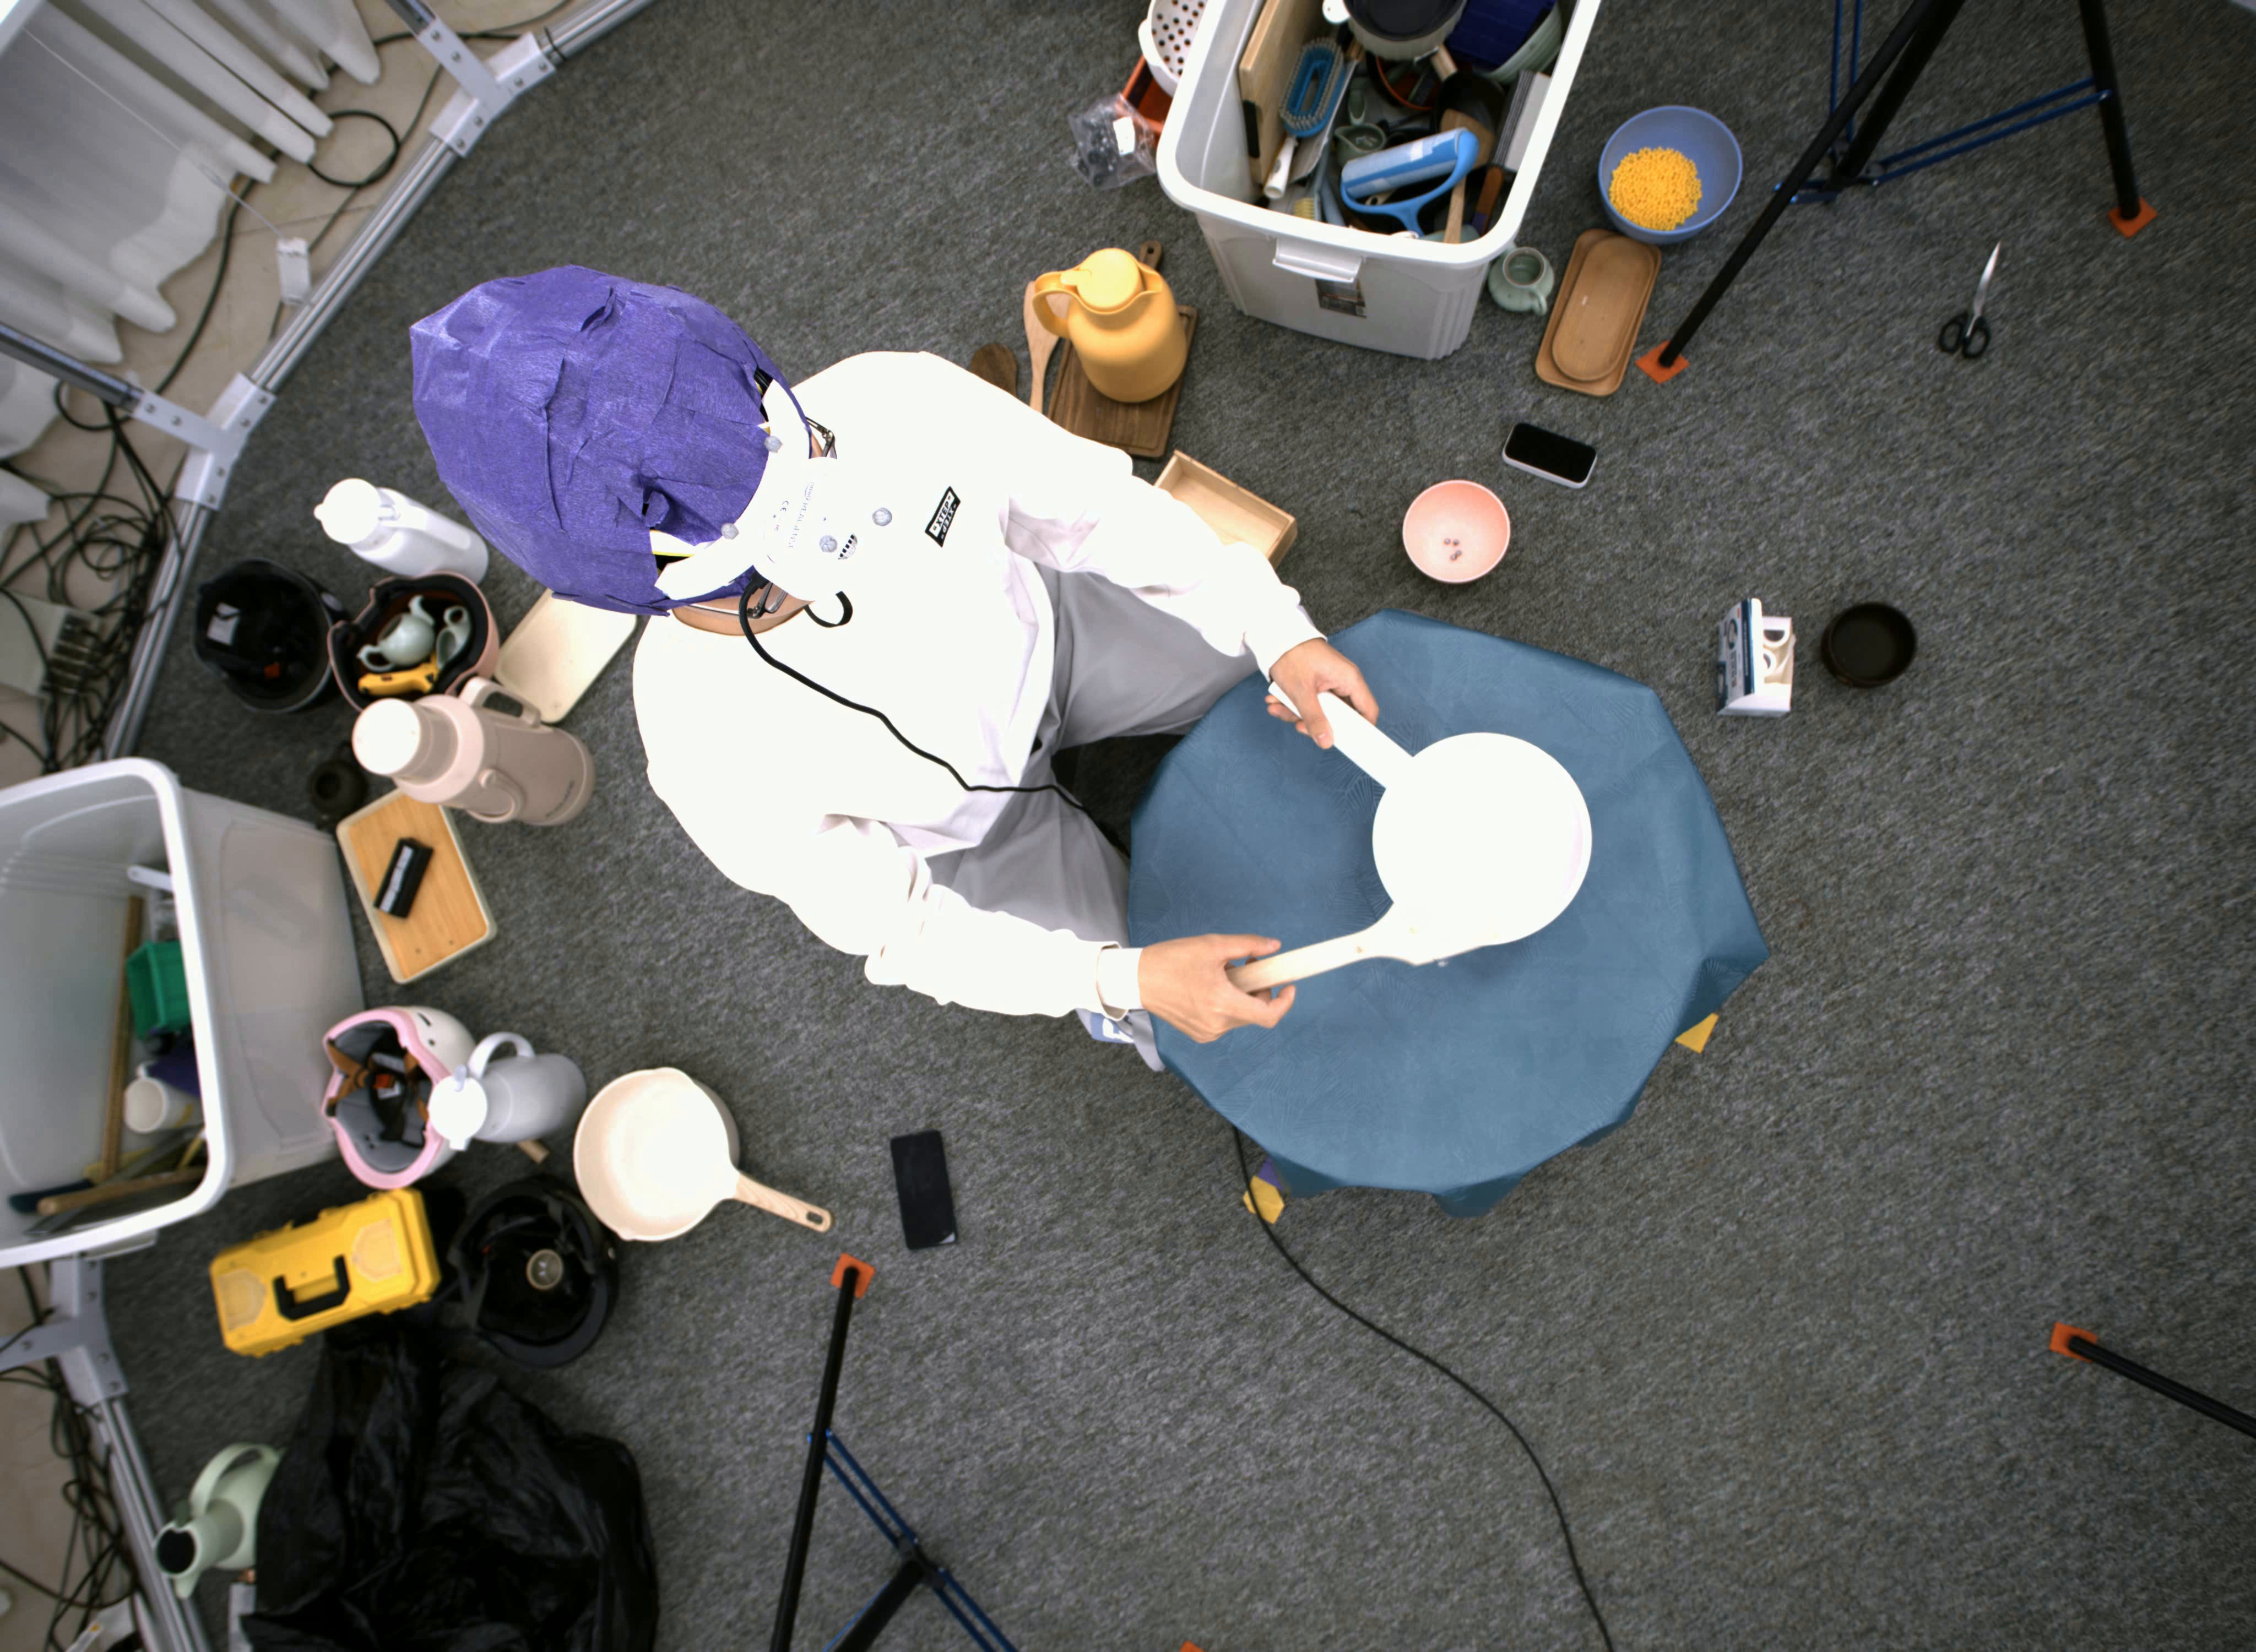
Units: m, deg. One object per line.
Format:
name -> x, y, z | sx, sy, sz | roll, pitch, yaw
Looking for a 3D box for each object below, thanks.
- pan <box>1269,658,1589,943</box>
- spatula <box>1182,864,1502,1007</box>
pan -> 0.288, -0.036, 1.360 | 0.352, 0.102, 0.203 | 42, 99, 15
spatula -> 0.185, 0.108, 1.236 | 0.295, 0.011, 0.070 | -20, 55, 14
